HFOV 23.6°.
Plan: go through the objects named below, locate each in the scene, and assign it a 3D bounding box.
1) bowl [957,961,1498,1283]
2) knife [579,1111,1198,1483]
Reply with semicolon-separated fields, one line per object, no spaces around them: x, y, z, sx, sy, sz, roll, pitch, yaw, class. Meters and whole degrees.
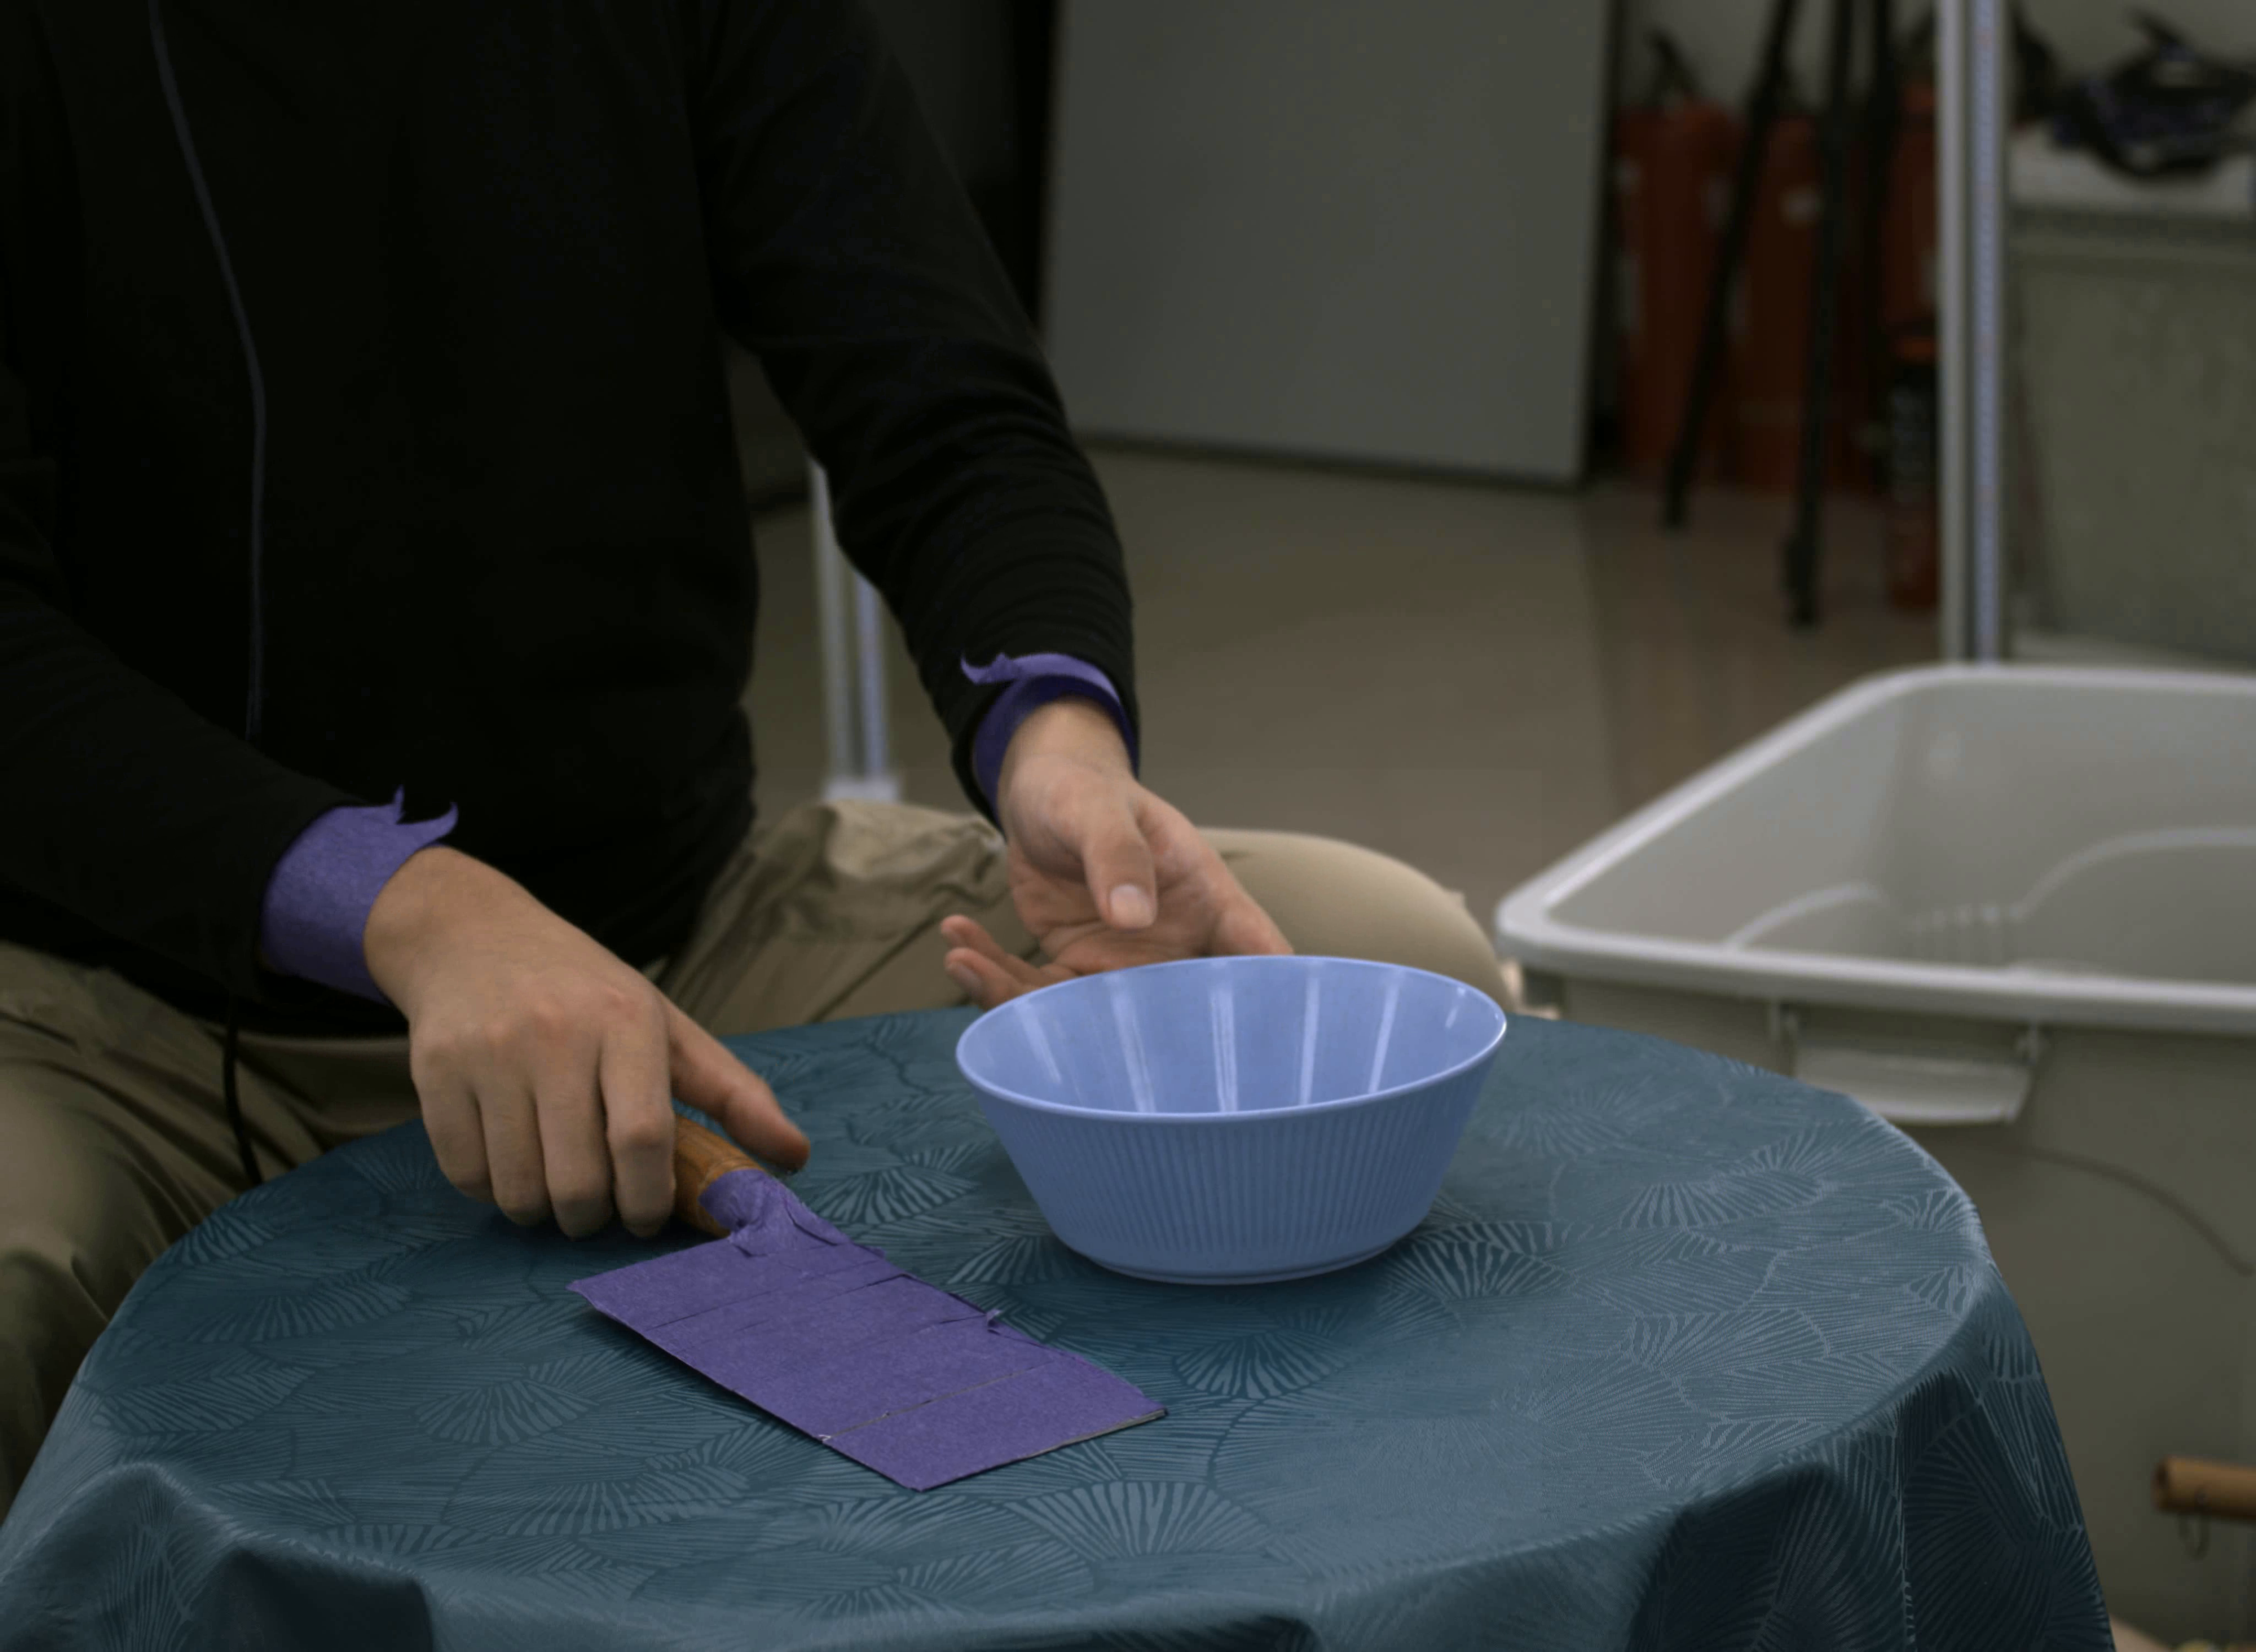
0.033;0.096;1.716;0.174;0.071;0.176;-4;13;0;bowl
-0.107;0.142;1.667;0.101;0.032;0.318;-13;17;-32;knife
